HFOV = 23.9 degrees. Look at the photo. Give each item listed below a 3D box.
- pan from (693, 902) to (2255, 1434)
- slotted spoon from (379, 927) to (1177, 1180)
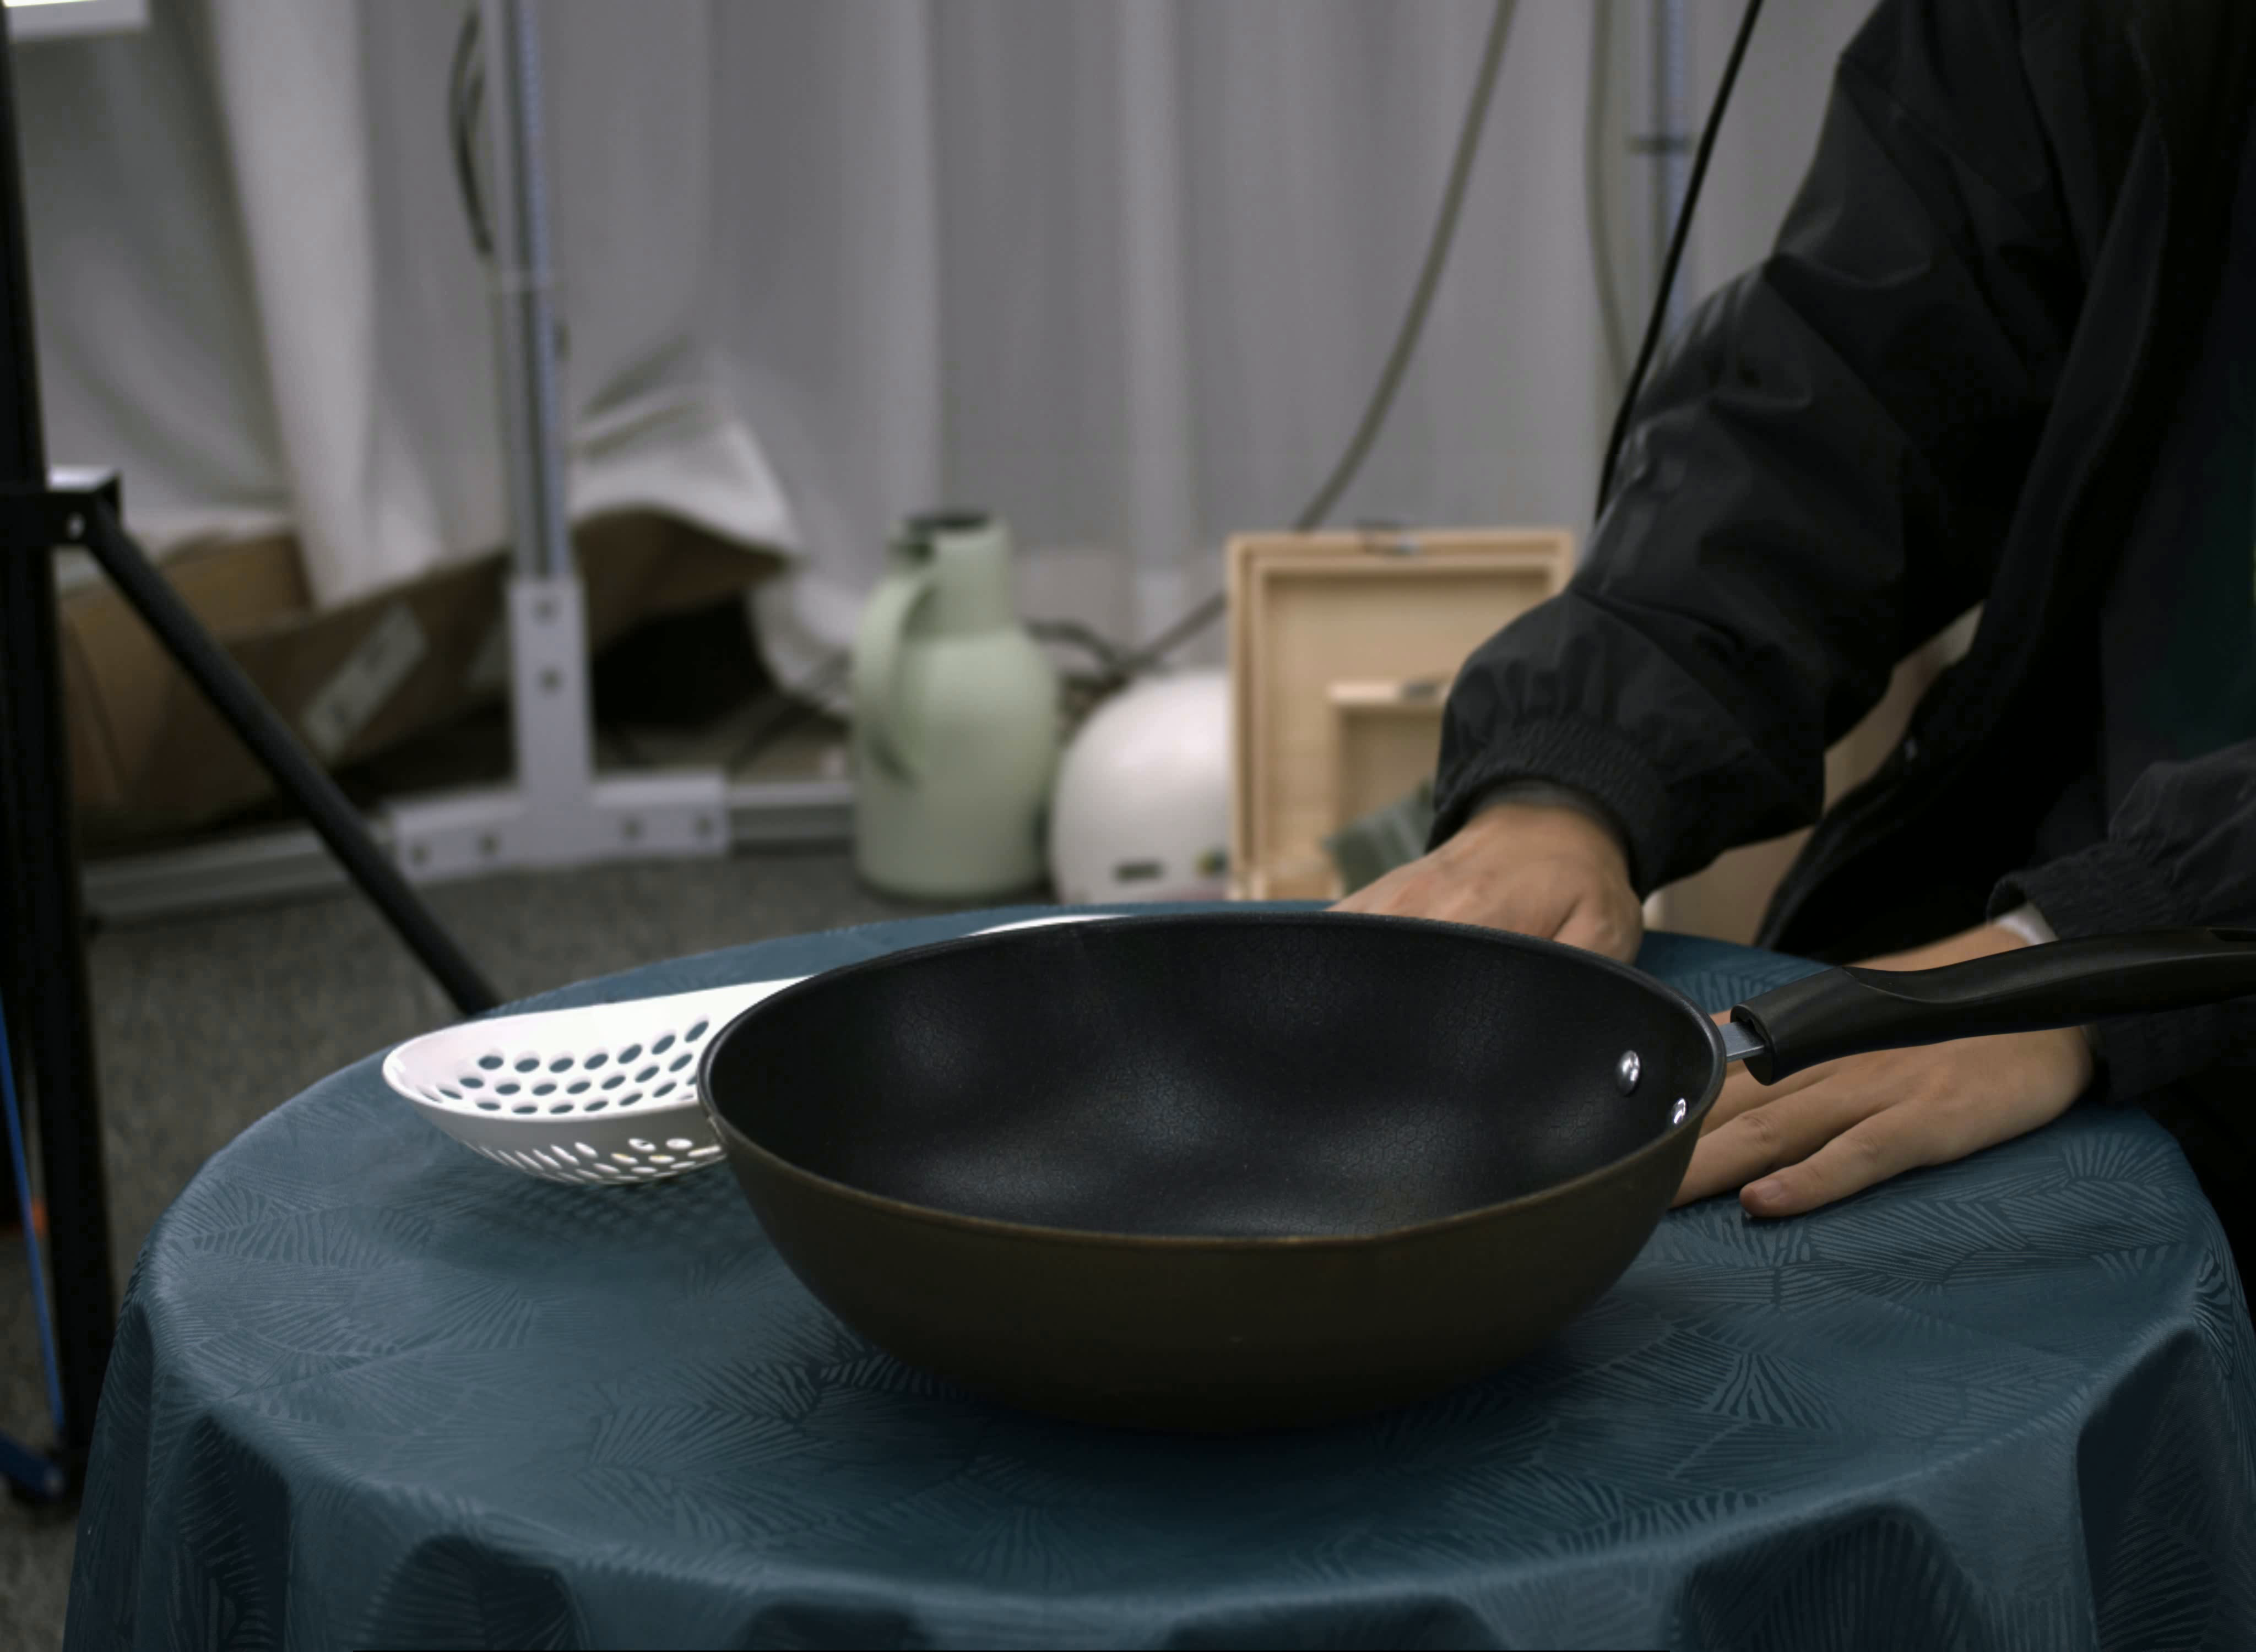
[{"bbox_3d":[0.110,0.090,1.455,0.457,0.087,0.292,-5,16,-12],"label":"pan"},{"bbox_3d":[-0.081,0.059,1.667,0.140,0.050,0.340,8,18,42],"label":"slotted spoon"}]
